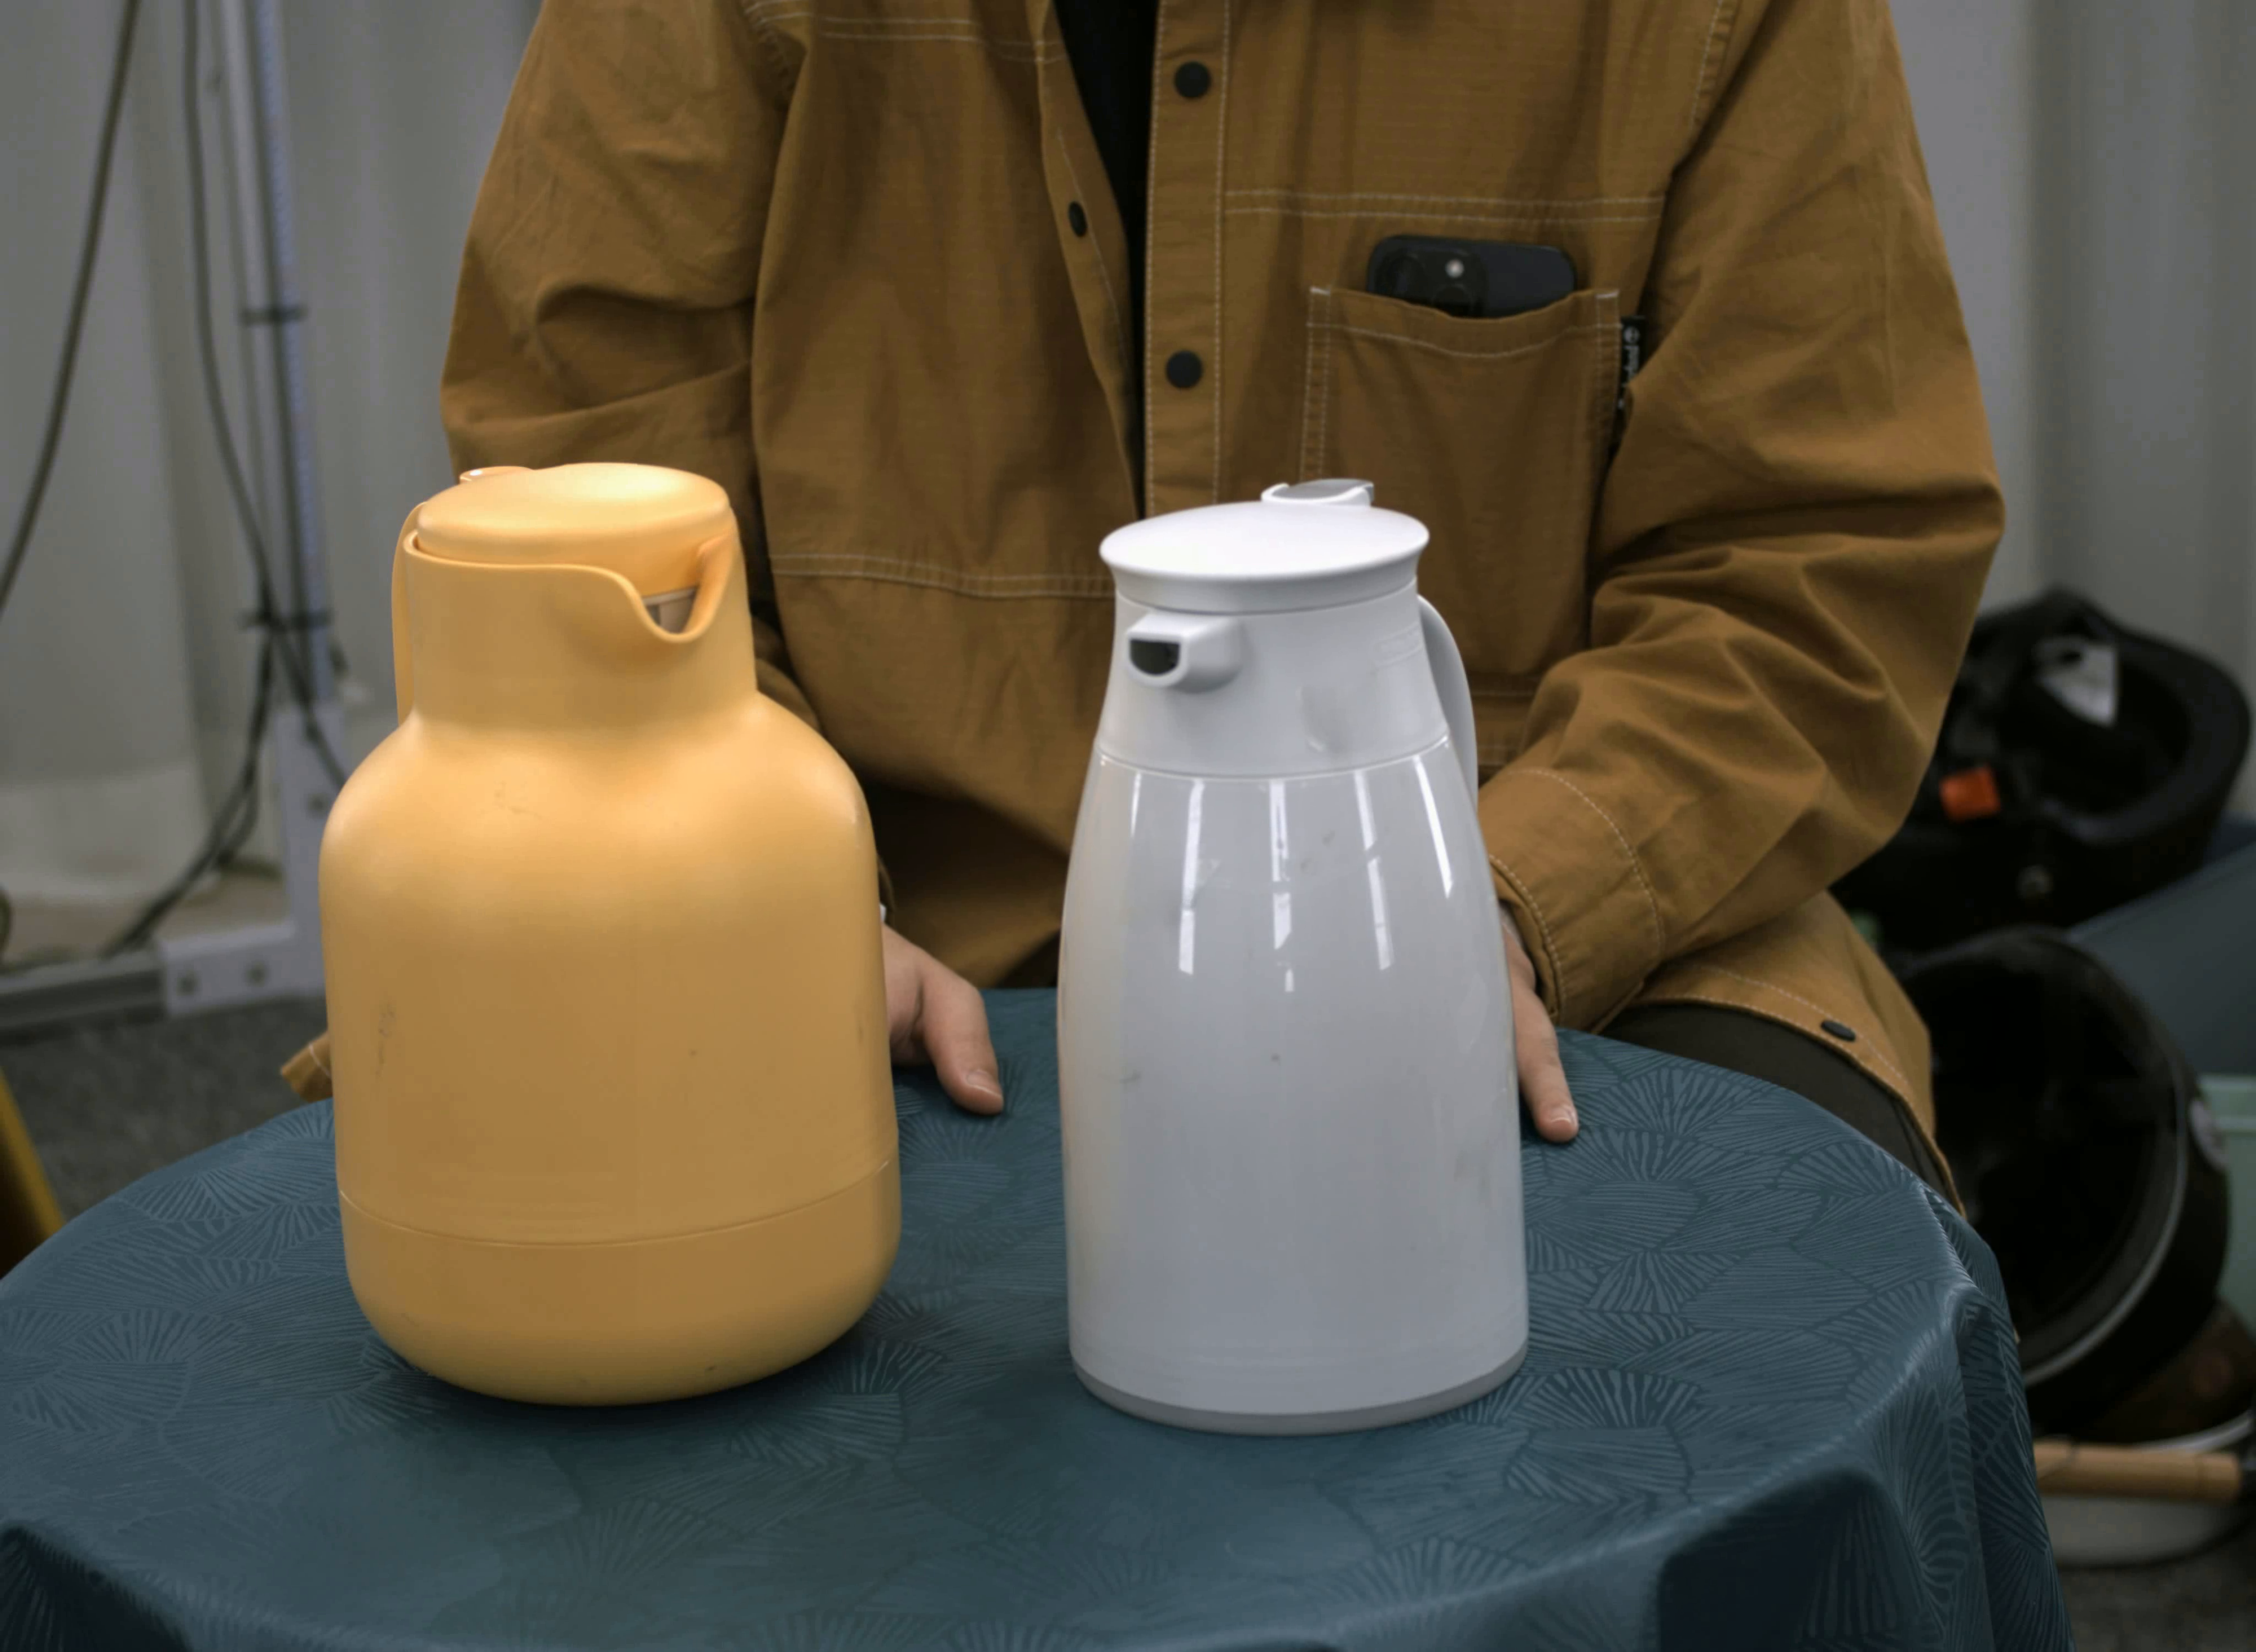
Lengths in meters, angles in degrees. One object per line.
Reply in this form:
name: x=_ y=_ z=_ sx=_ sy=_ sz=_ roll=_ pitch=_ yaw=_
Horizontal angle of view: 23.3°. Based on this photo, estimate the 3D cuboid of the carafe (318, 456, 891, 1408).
carafe: x=-0.159 y=0.022 z=1.592 sx=0.162 sy=0.259 sz=0.204 roll=-7 pitch=16 yaw=-25

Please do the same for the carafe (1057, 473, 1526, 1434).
carafe: x=0.052 y=0.027 z=1.554 sx=0.133 sy=0.248 sz=0.168 roll=5 pitch=15 yaw=30
